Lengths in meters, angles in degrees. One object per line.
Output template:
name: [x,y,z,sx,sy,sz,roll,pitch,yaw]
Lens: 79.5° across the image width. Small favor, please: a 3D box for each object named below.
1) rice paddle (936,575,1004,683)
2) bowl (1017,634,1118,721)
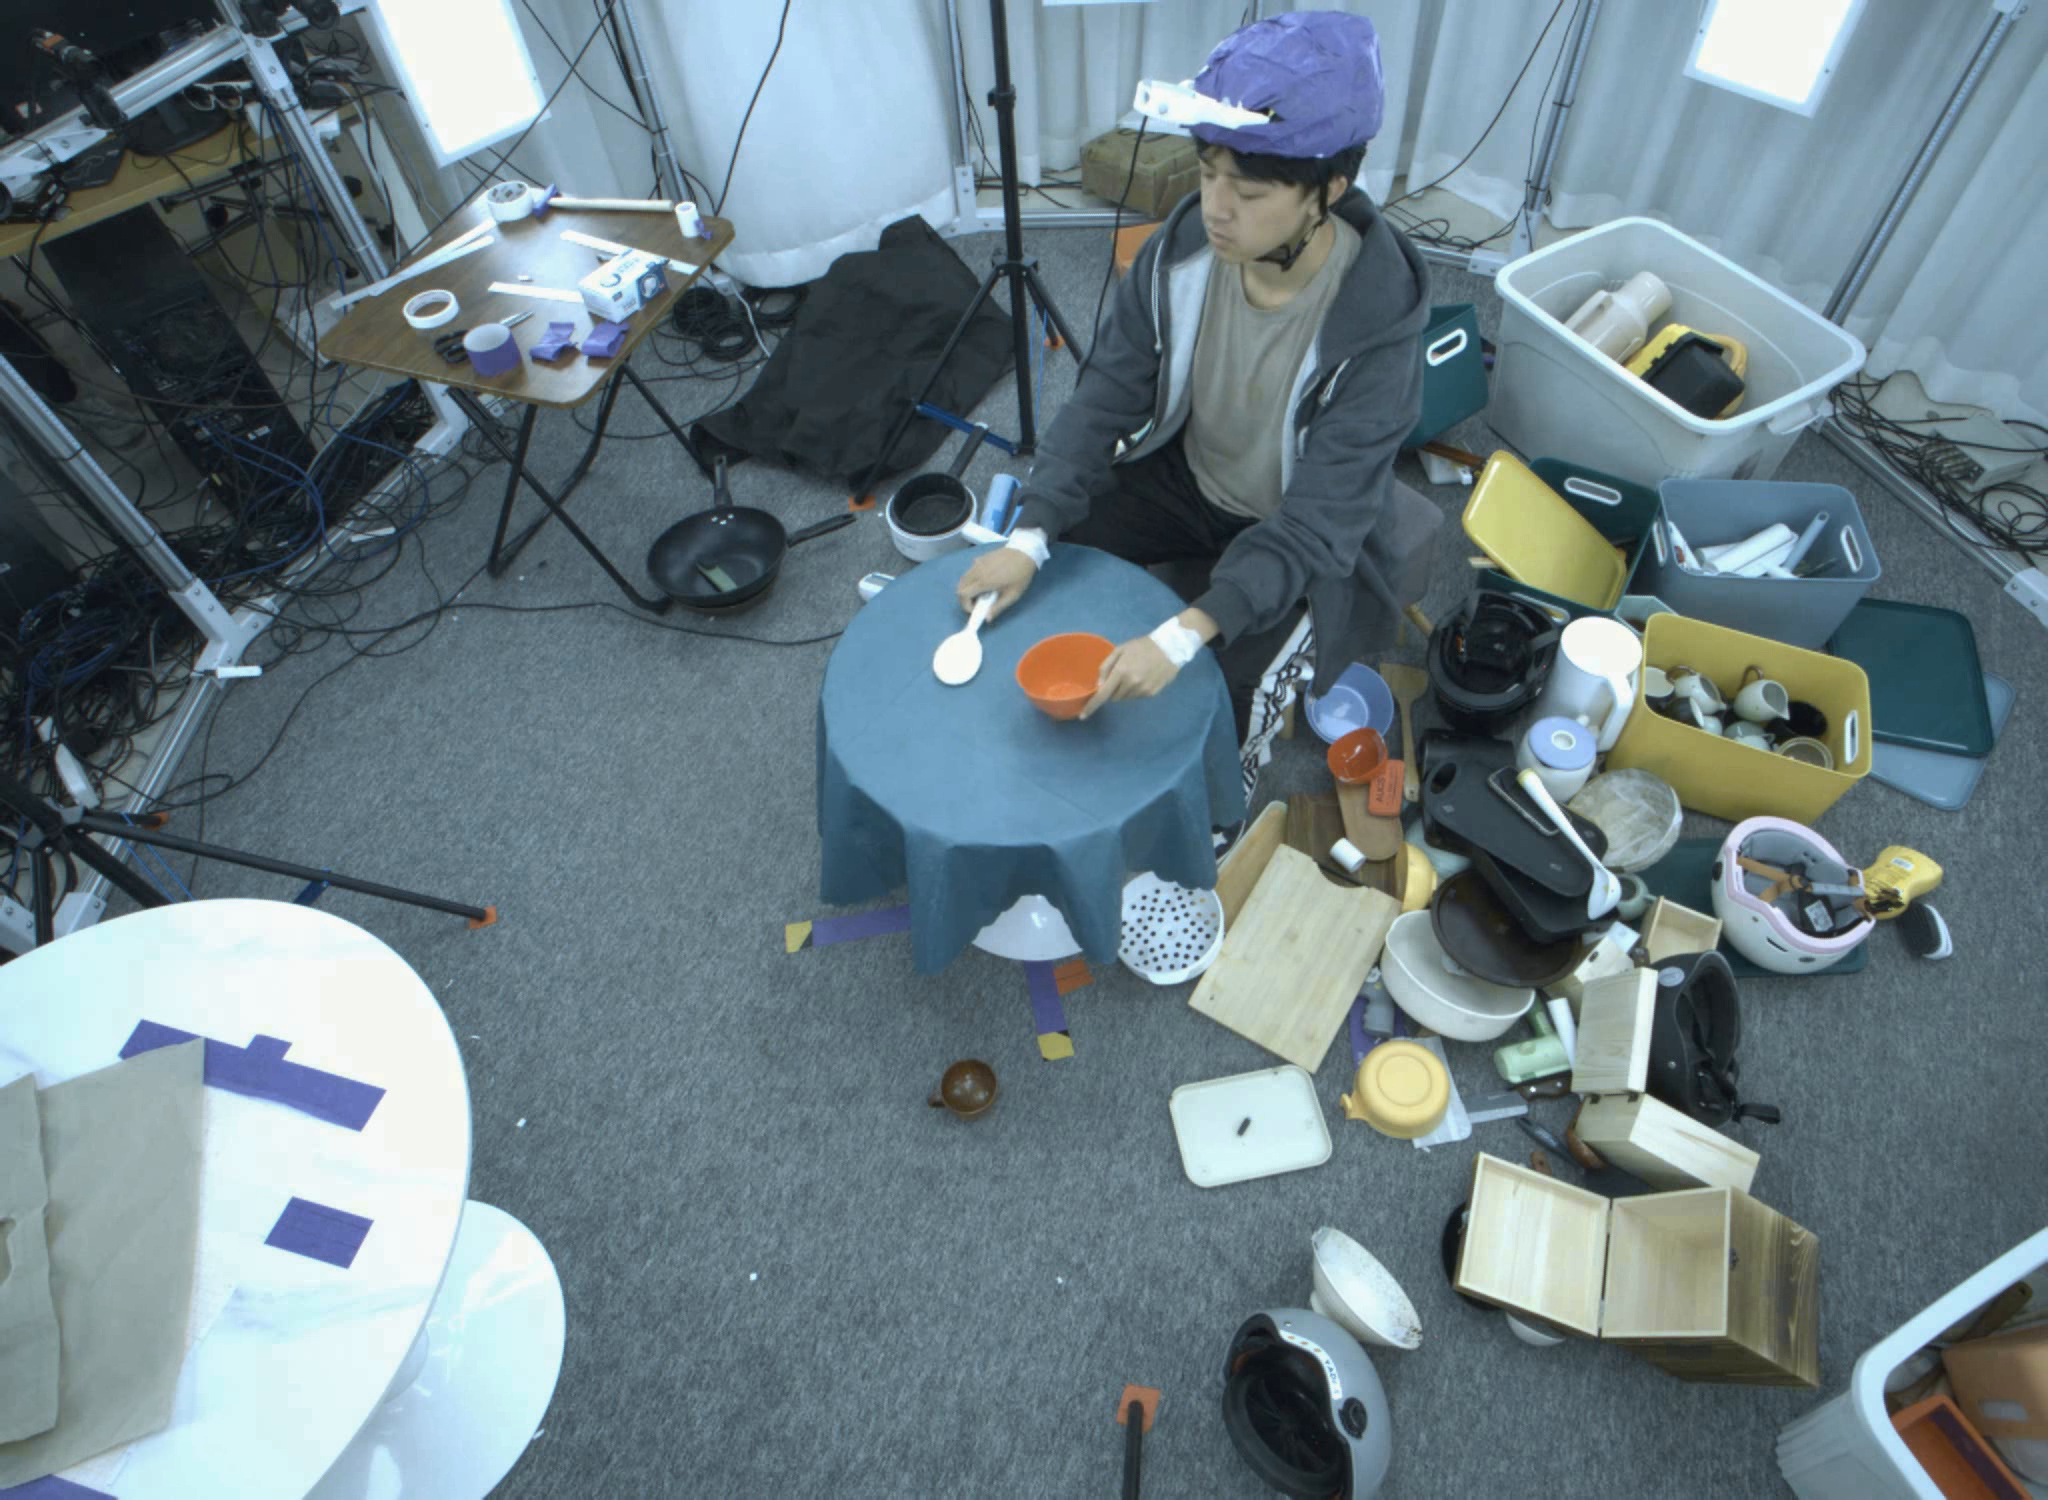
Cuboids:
rice paddle: [-0.079,-0.186,1.902,0.068,0.029,0.205,18,61,7]
bowl: [0.066,-0.093,1.789,0.147,0.106,0.146,-3,51,5]
